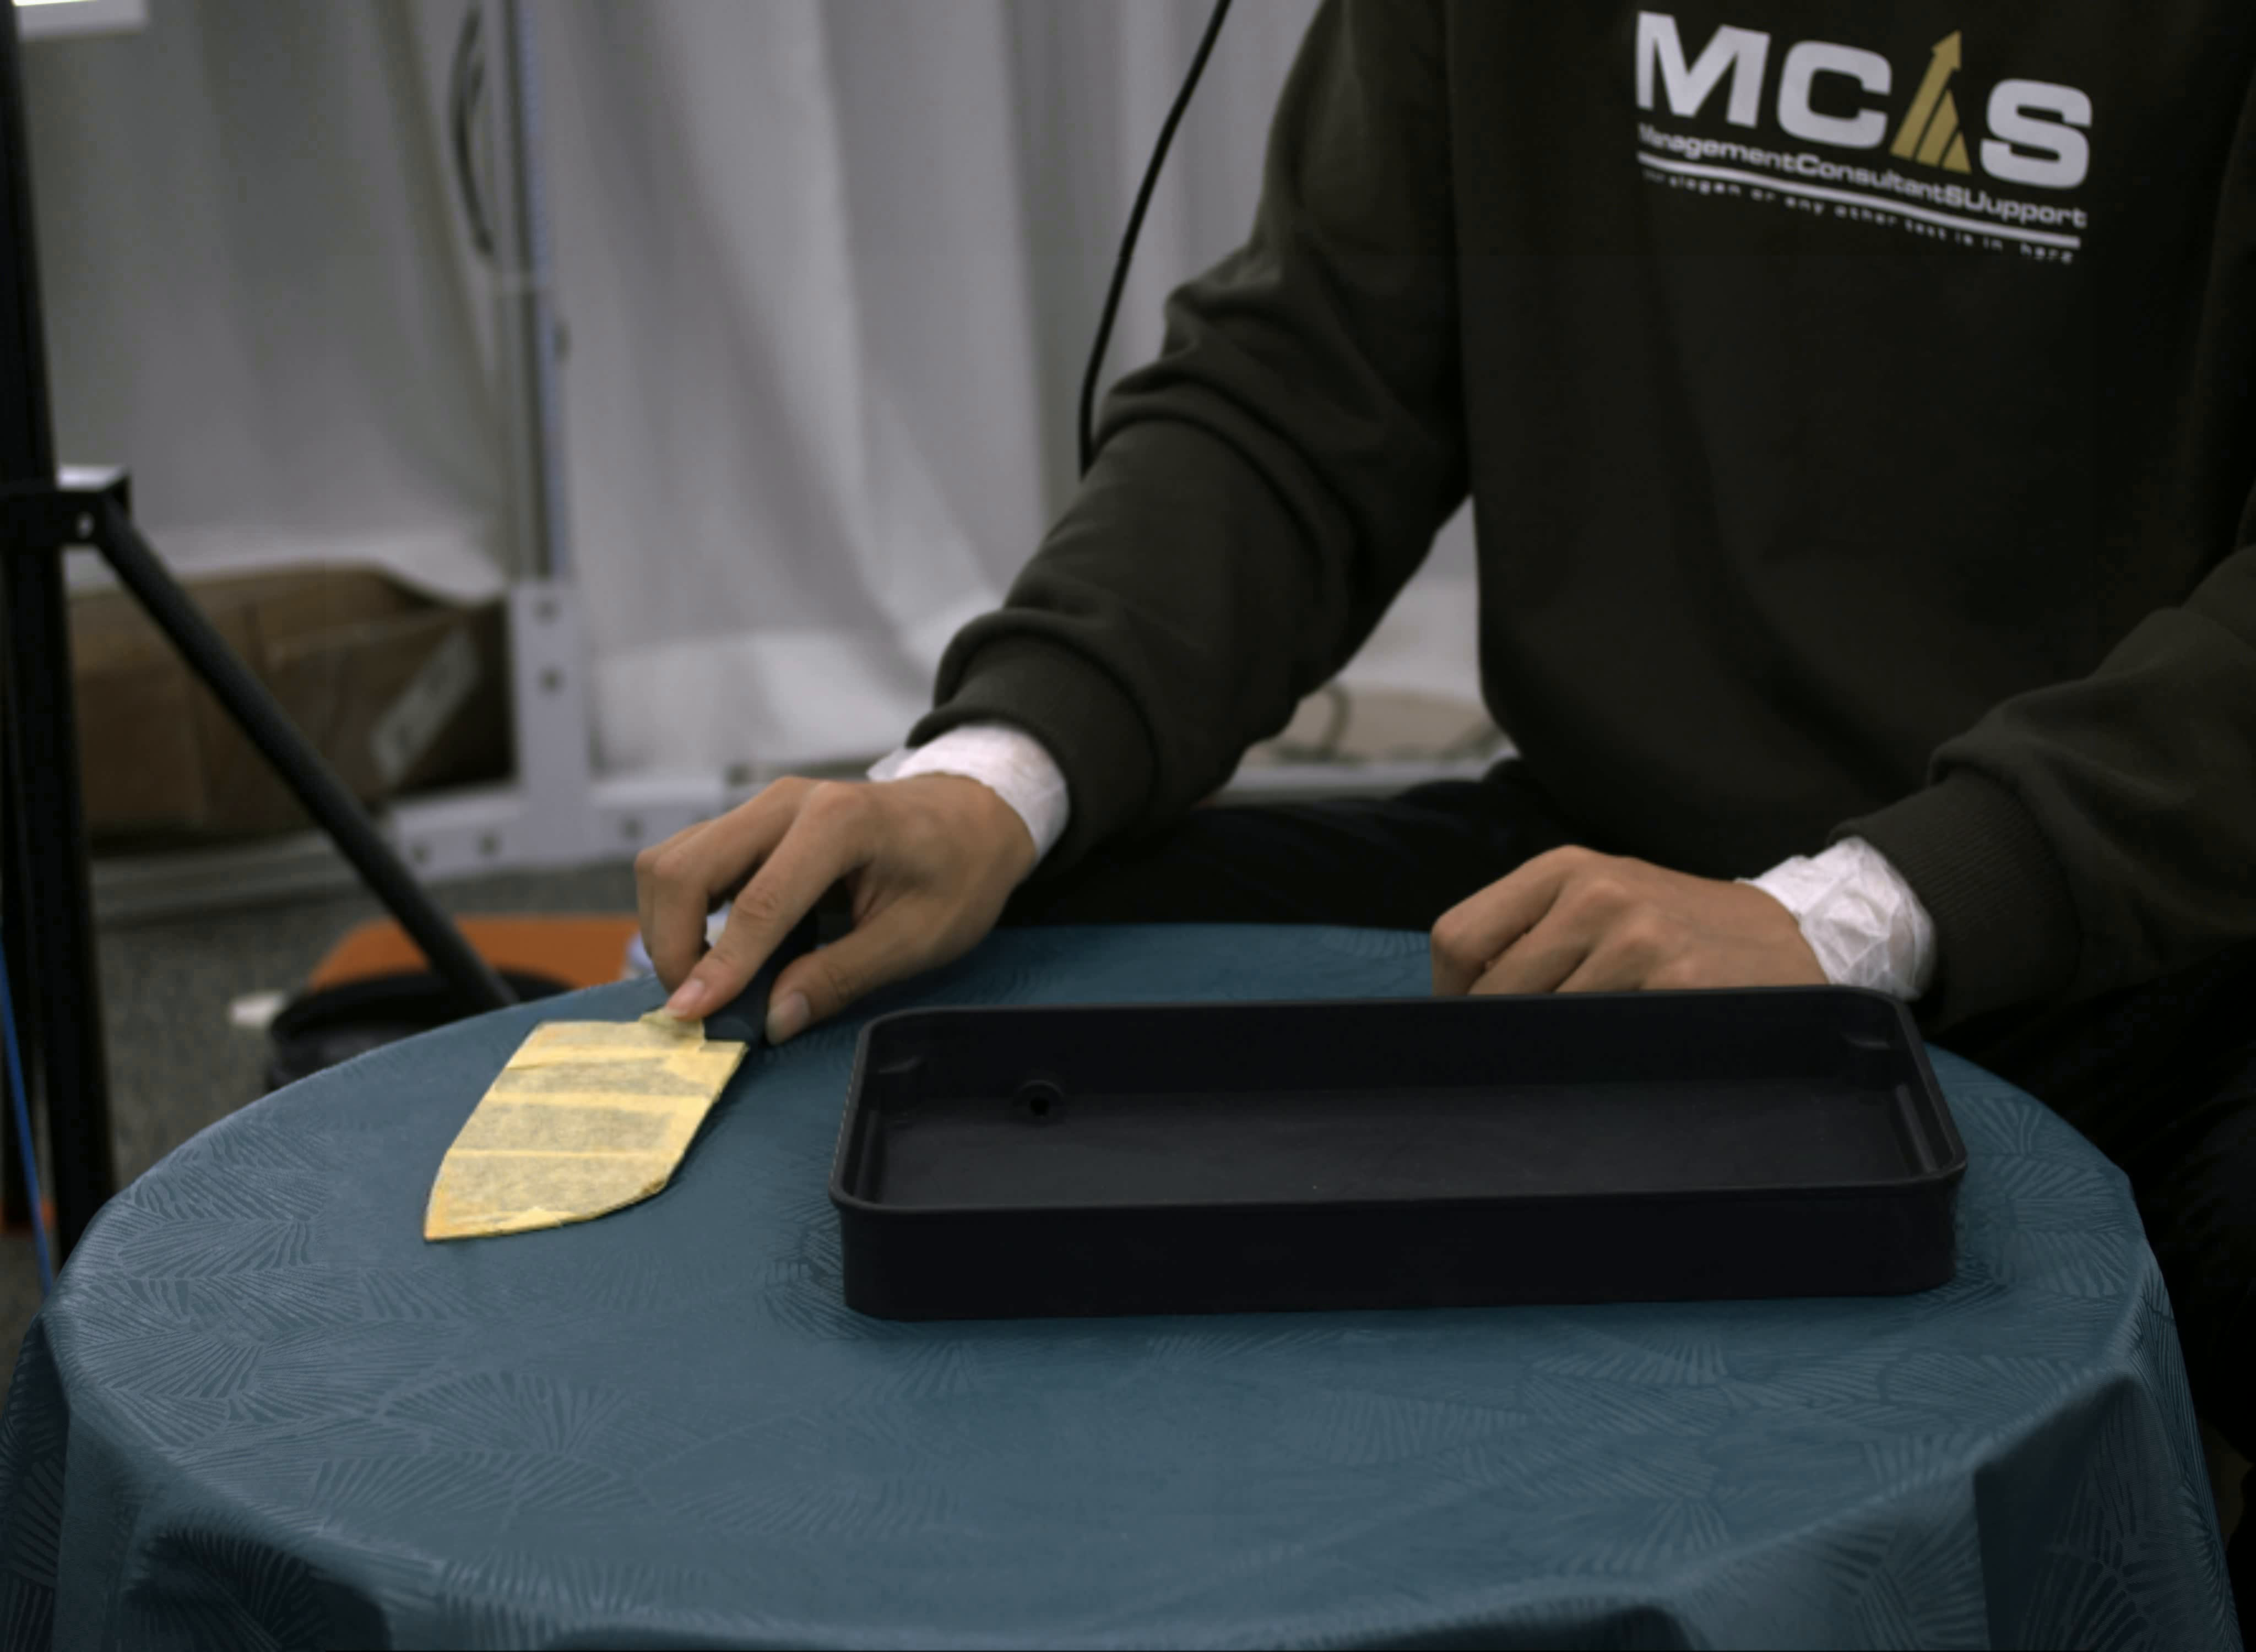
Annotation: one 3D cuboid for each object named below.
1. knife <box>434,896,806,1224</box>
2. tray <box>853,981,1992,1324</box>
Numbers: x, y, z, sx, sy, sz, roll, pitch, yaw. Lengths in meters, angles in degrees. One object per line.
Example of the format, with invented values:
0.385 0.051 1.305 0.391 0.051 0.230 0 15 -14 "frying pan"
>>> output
-0.155 0.073 1.680 0.081 0.027 0.288 5 18 11 "knife"
0.081 0.093 1.539 0.317 0.037 0.185 -2 15 2 "tray"
